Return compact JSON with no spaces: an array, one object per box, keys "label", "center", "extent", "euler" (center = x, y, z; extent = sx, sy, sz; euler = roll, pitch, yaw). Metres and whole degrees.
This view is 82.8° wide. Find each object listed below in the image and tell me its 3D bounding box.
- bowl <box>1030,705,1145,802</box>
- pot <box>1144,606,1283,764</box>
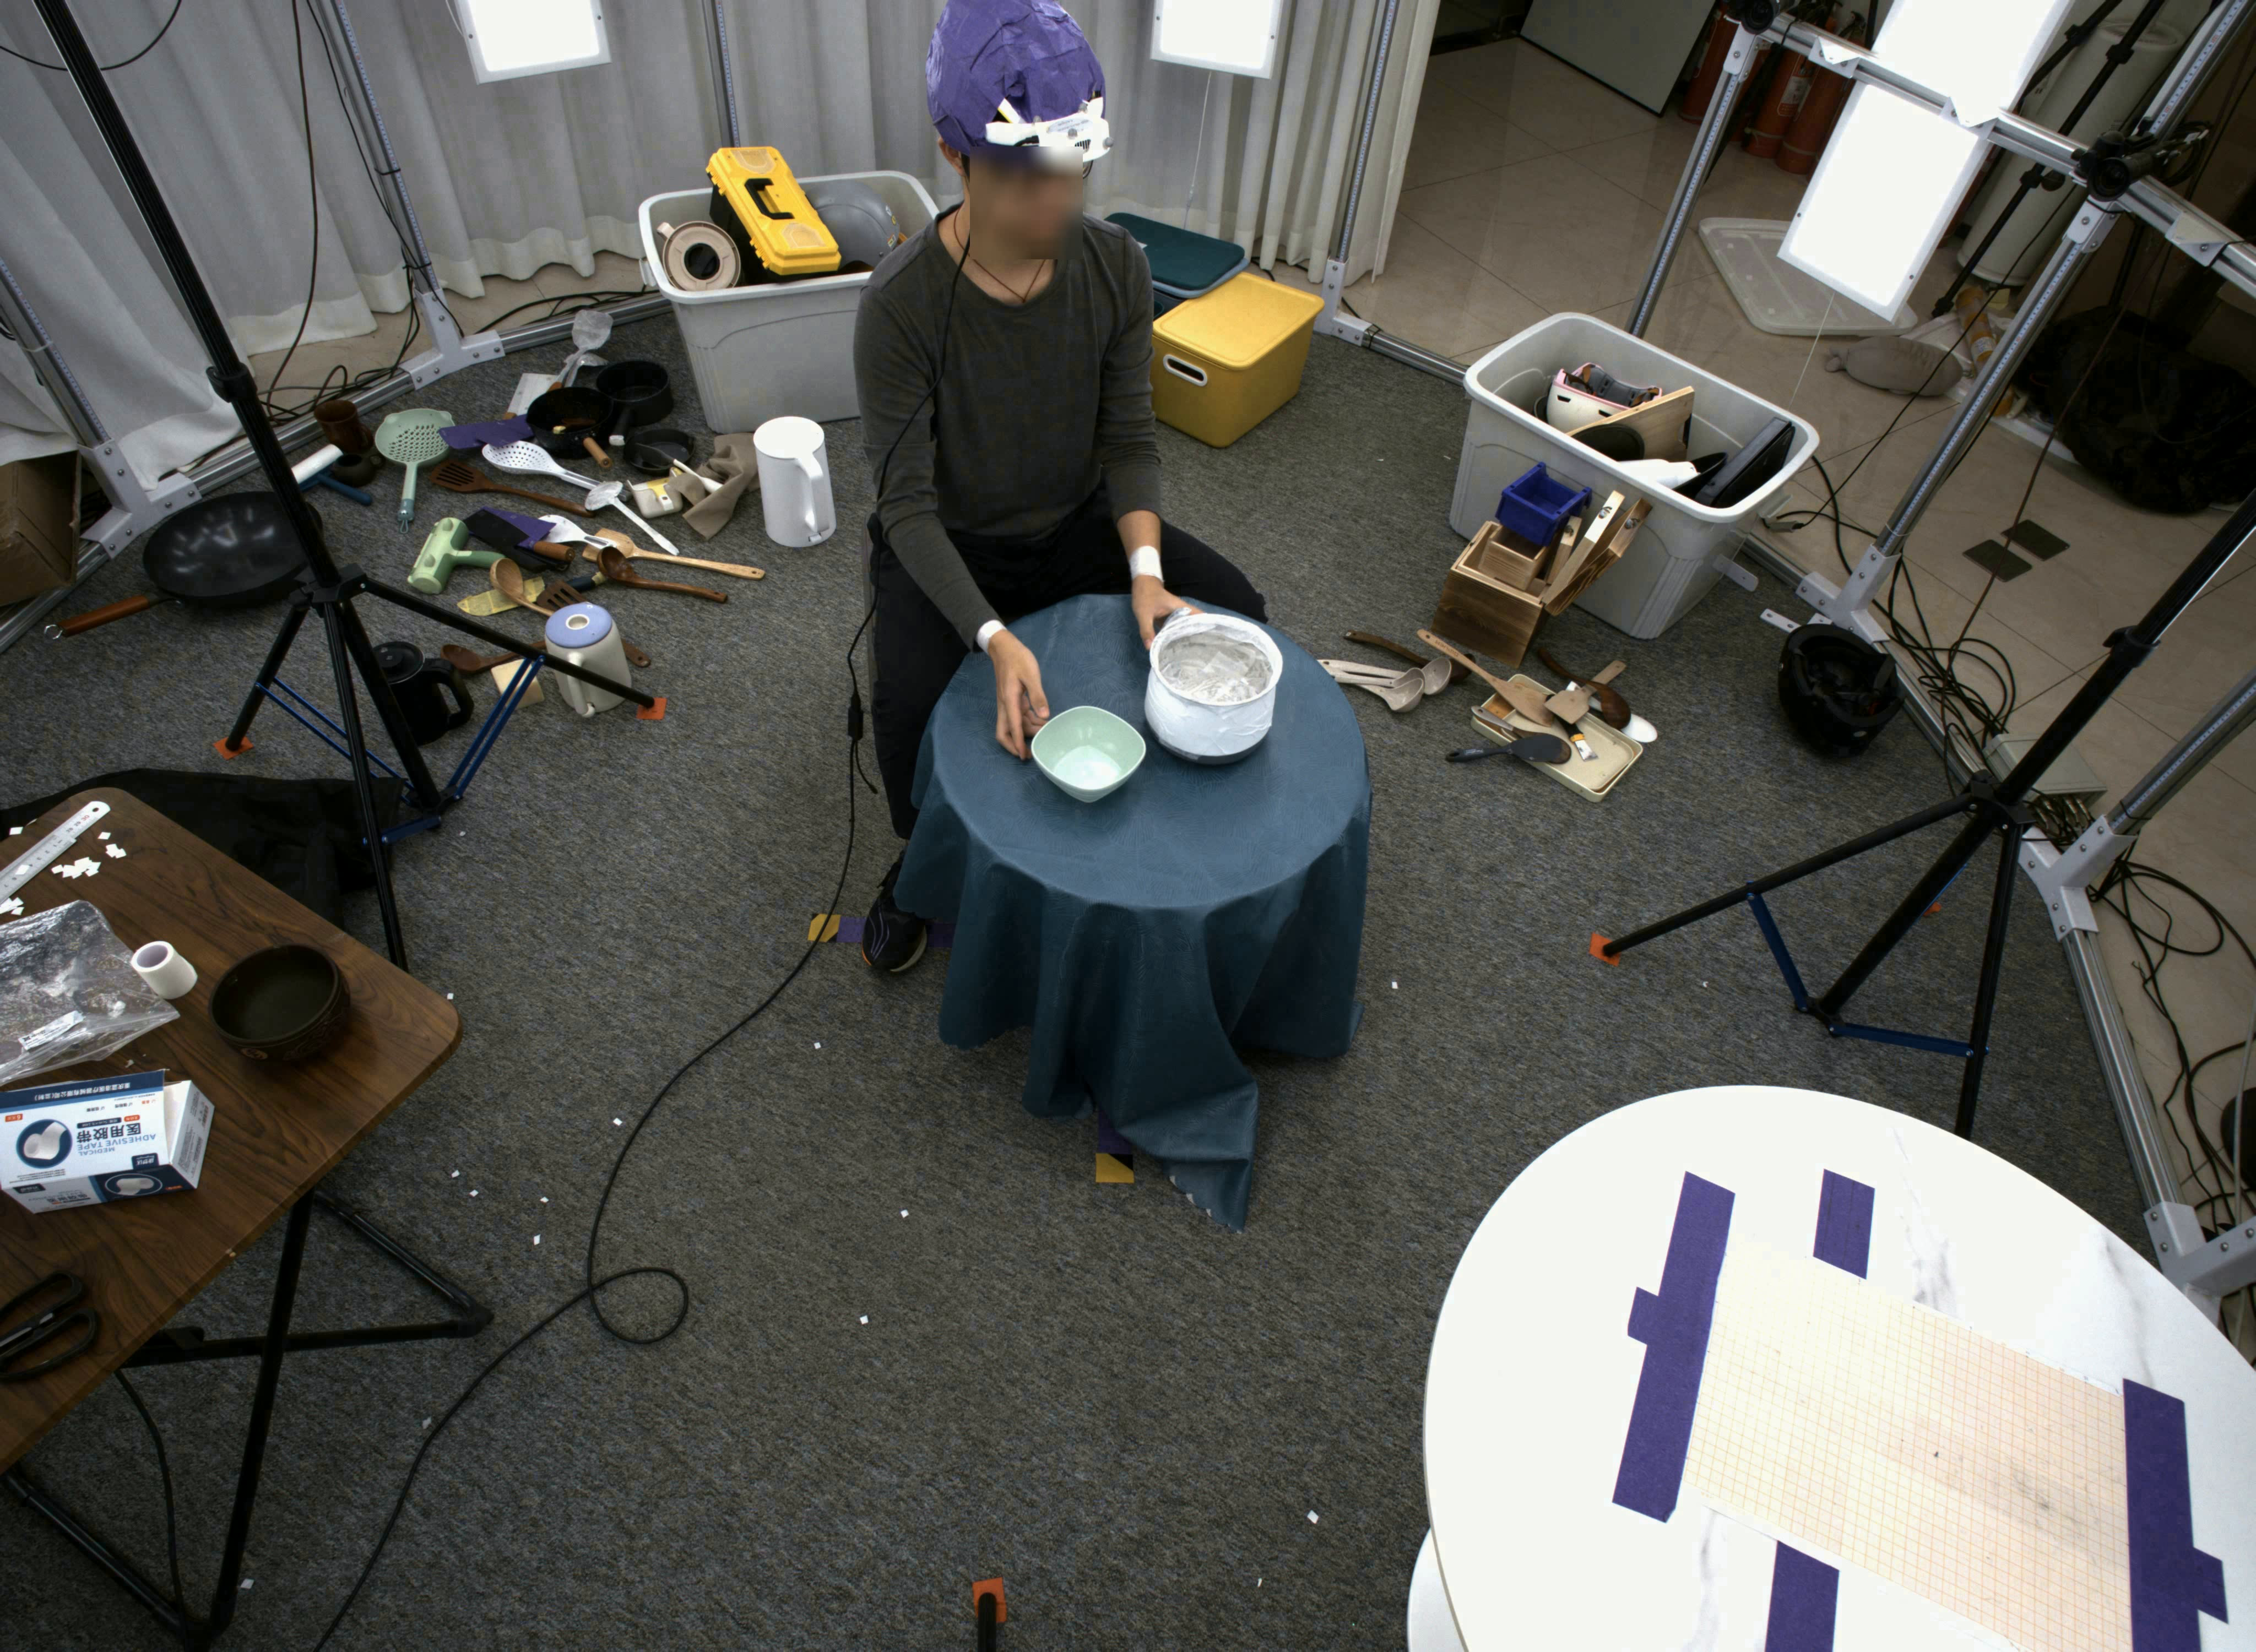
[{"label":"bowl","center":[-0.055,-0.087,1.702],"extent":[0.151,0.057,0.155],"euler":[2,51,-3]},{"label":"pot","center":[0.102,-0.203,1.761],"extent":[0.179,0.133,0.239],"euler":[-16,53,-18]}]
